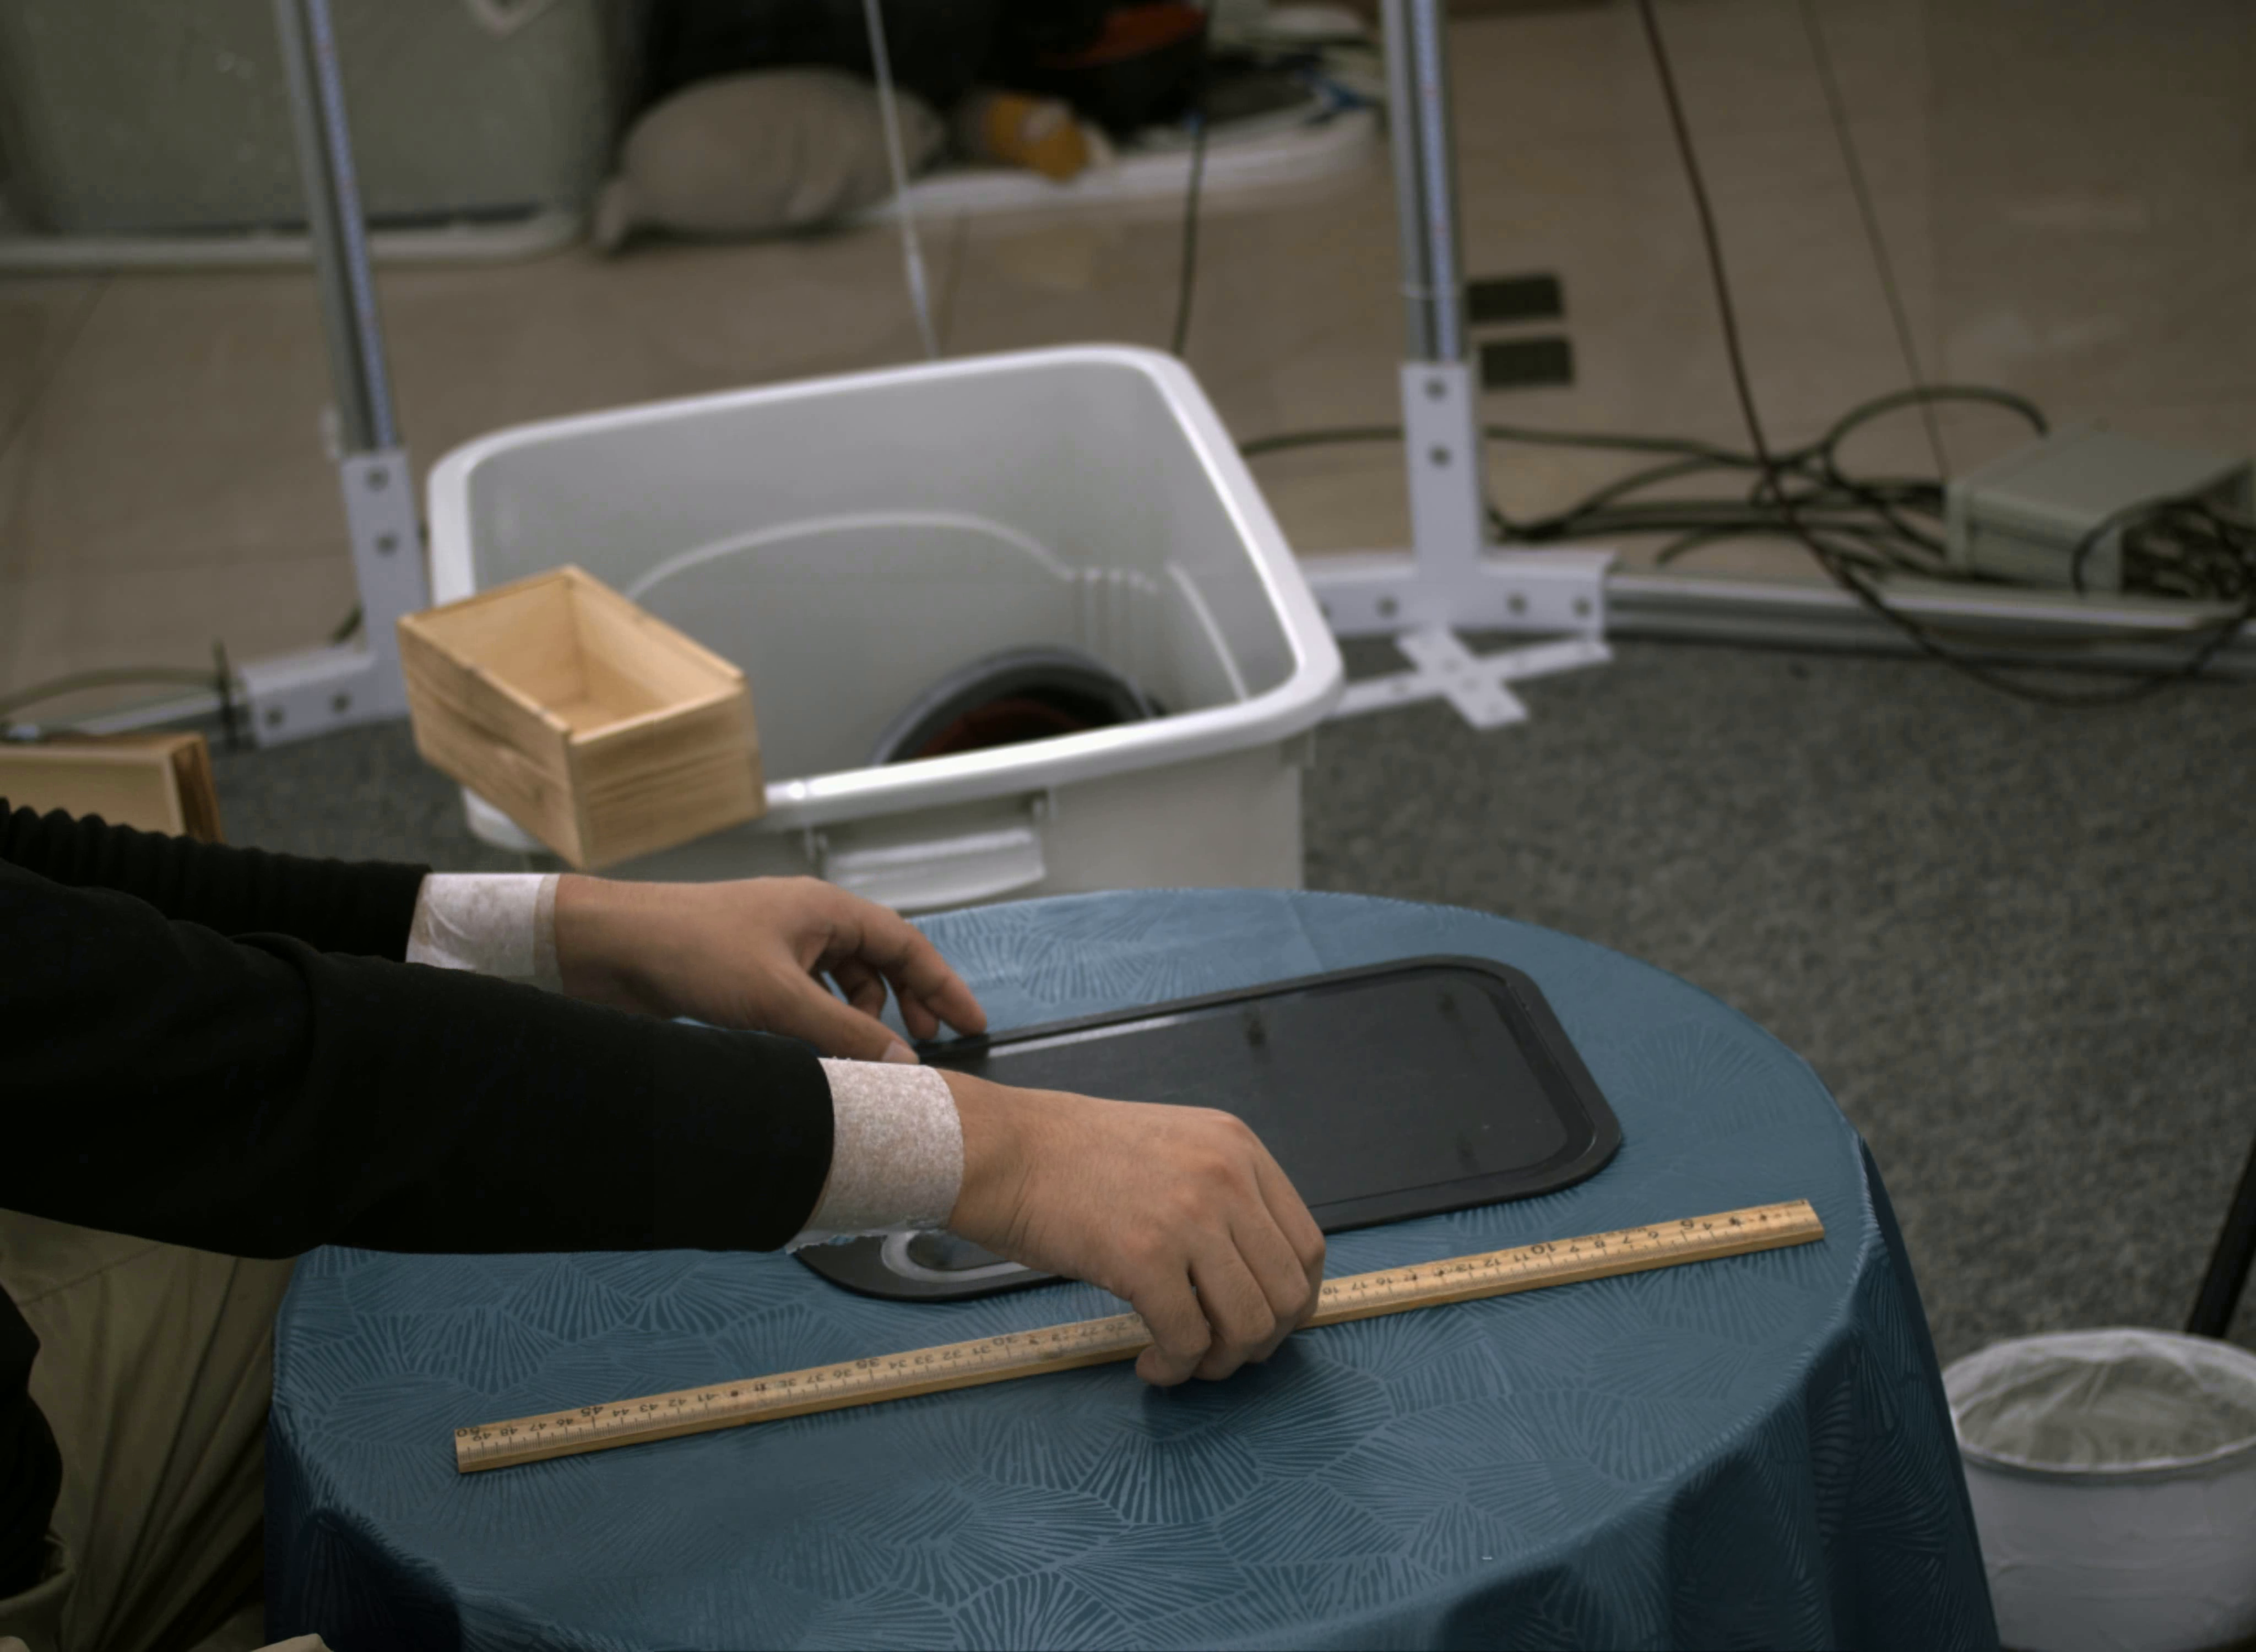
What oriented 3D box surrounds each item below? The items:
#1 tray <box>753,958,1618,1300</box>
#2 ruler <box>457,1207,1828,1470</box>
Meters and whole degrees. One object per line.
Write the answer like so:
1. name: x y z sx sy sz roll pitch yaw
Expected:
1. tray: 0.017 0.114 2.188 0.325 0.010 0.208 -9 25 -6
2. ruler: 0.006 0.183 2.047 0.499 0.006 0.026 -9 23 -5
